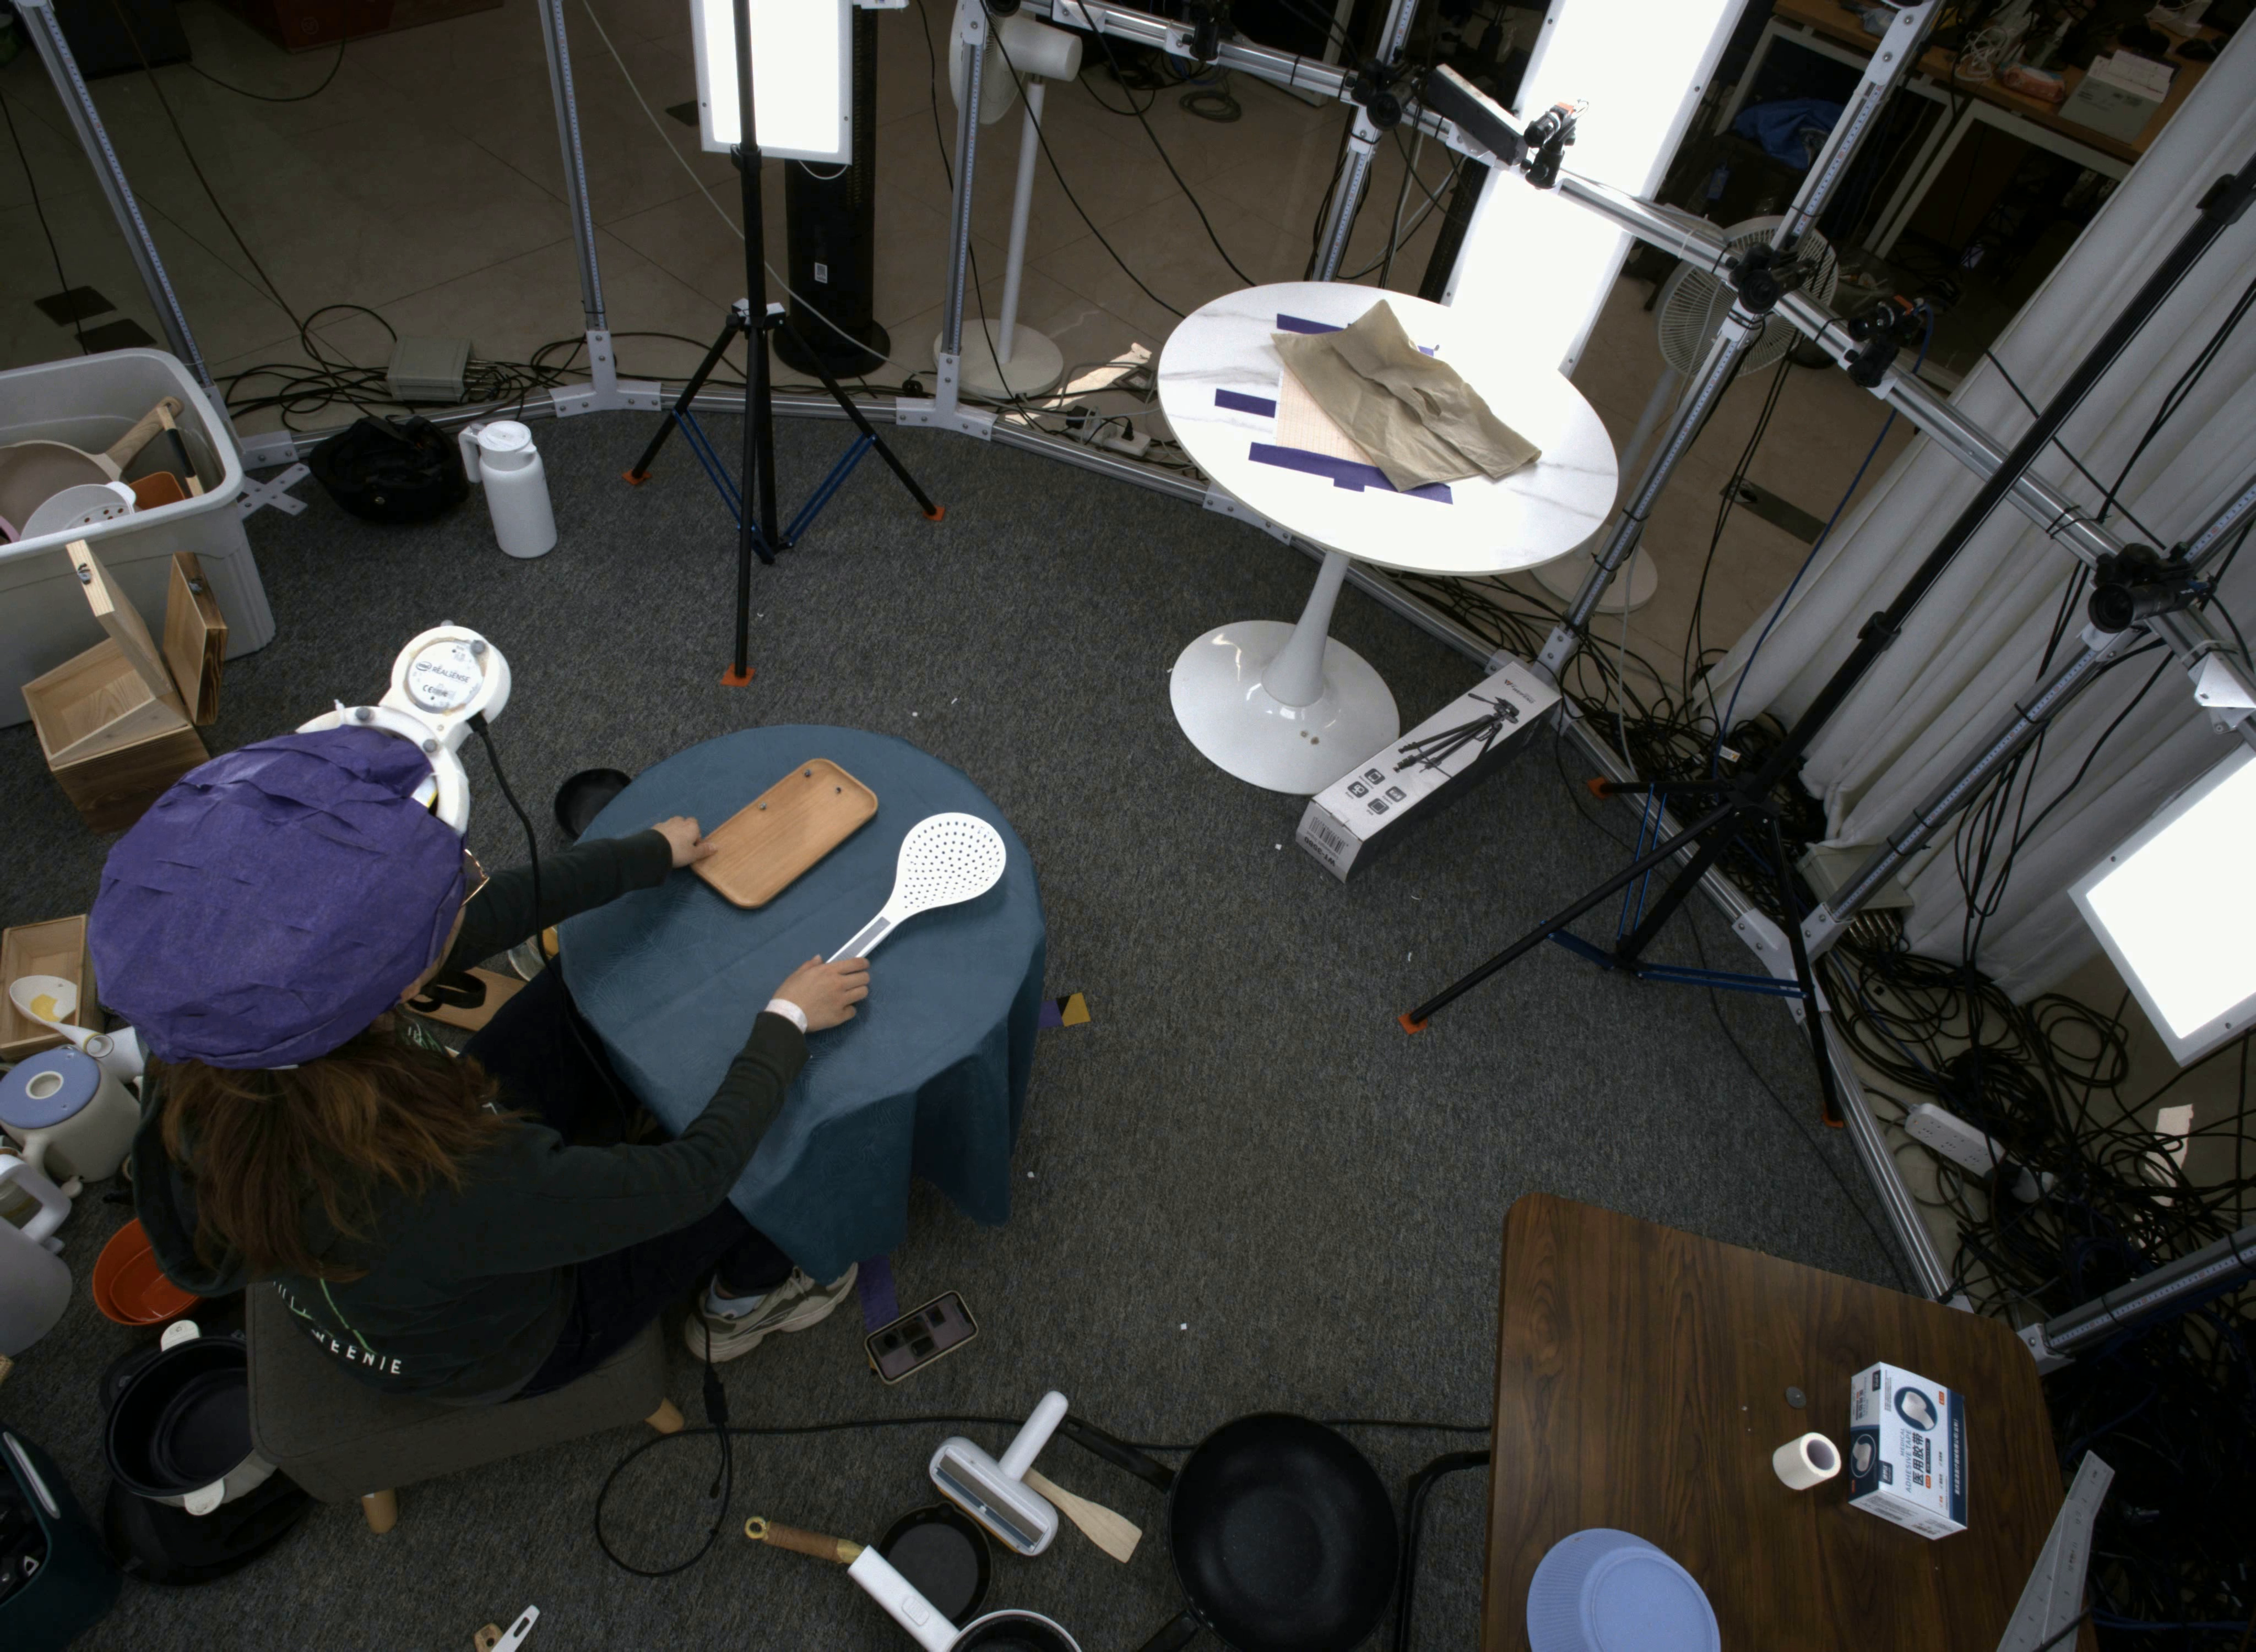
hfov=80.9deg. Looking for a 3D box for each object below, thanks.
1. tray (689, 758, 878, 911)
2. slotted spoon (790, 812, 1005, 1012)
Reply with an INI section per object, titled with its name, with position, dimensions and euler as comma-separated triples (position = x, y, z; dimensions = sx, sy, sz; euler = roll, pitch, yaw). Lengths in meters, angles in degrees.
[tray]
position = -0.451, 0.008, 1.706
dimensions = 0.128, 0.023, 0.250
euler = 35, 54, 15
[slotted spoon]
position = -0.295, 0.108, 1.653
dimensions = 0.133, 0.047, 0.349
euler = 35, 54, 16
